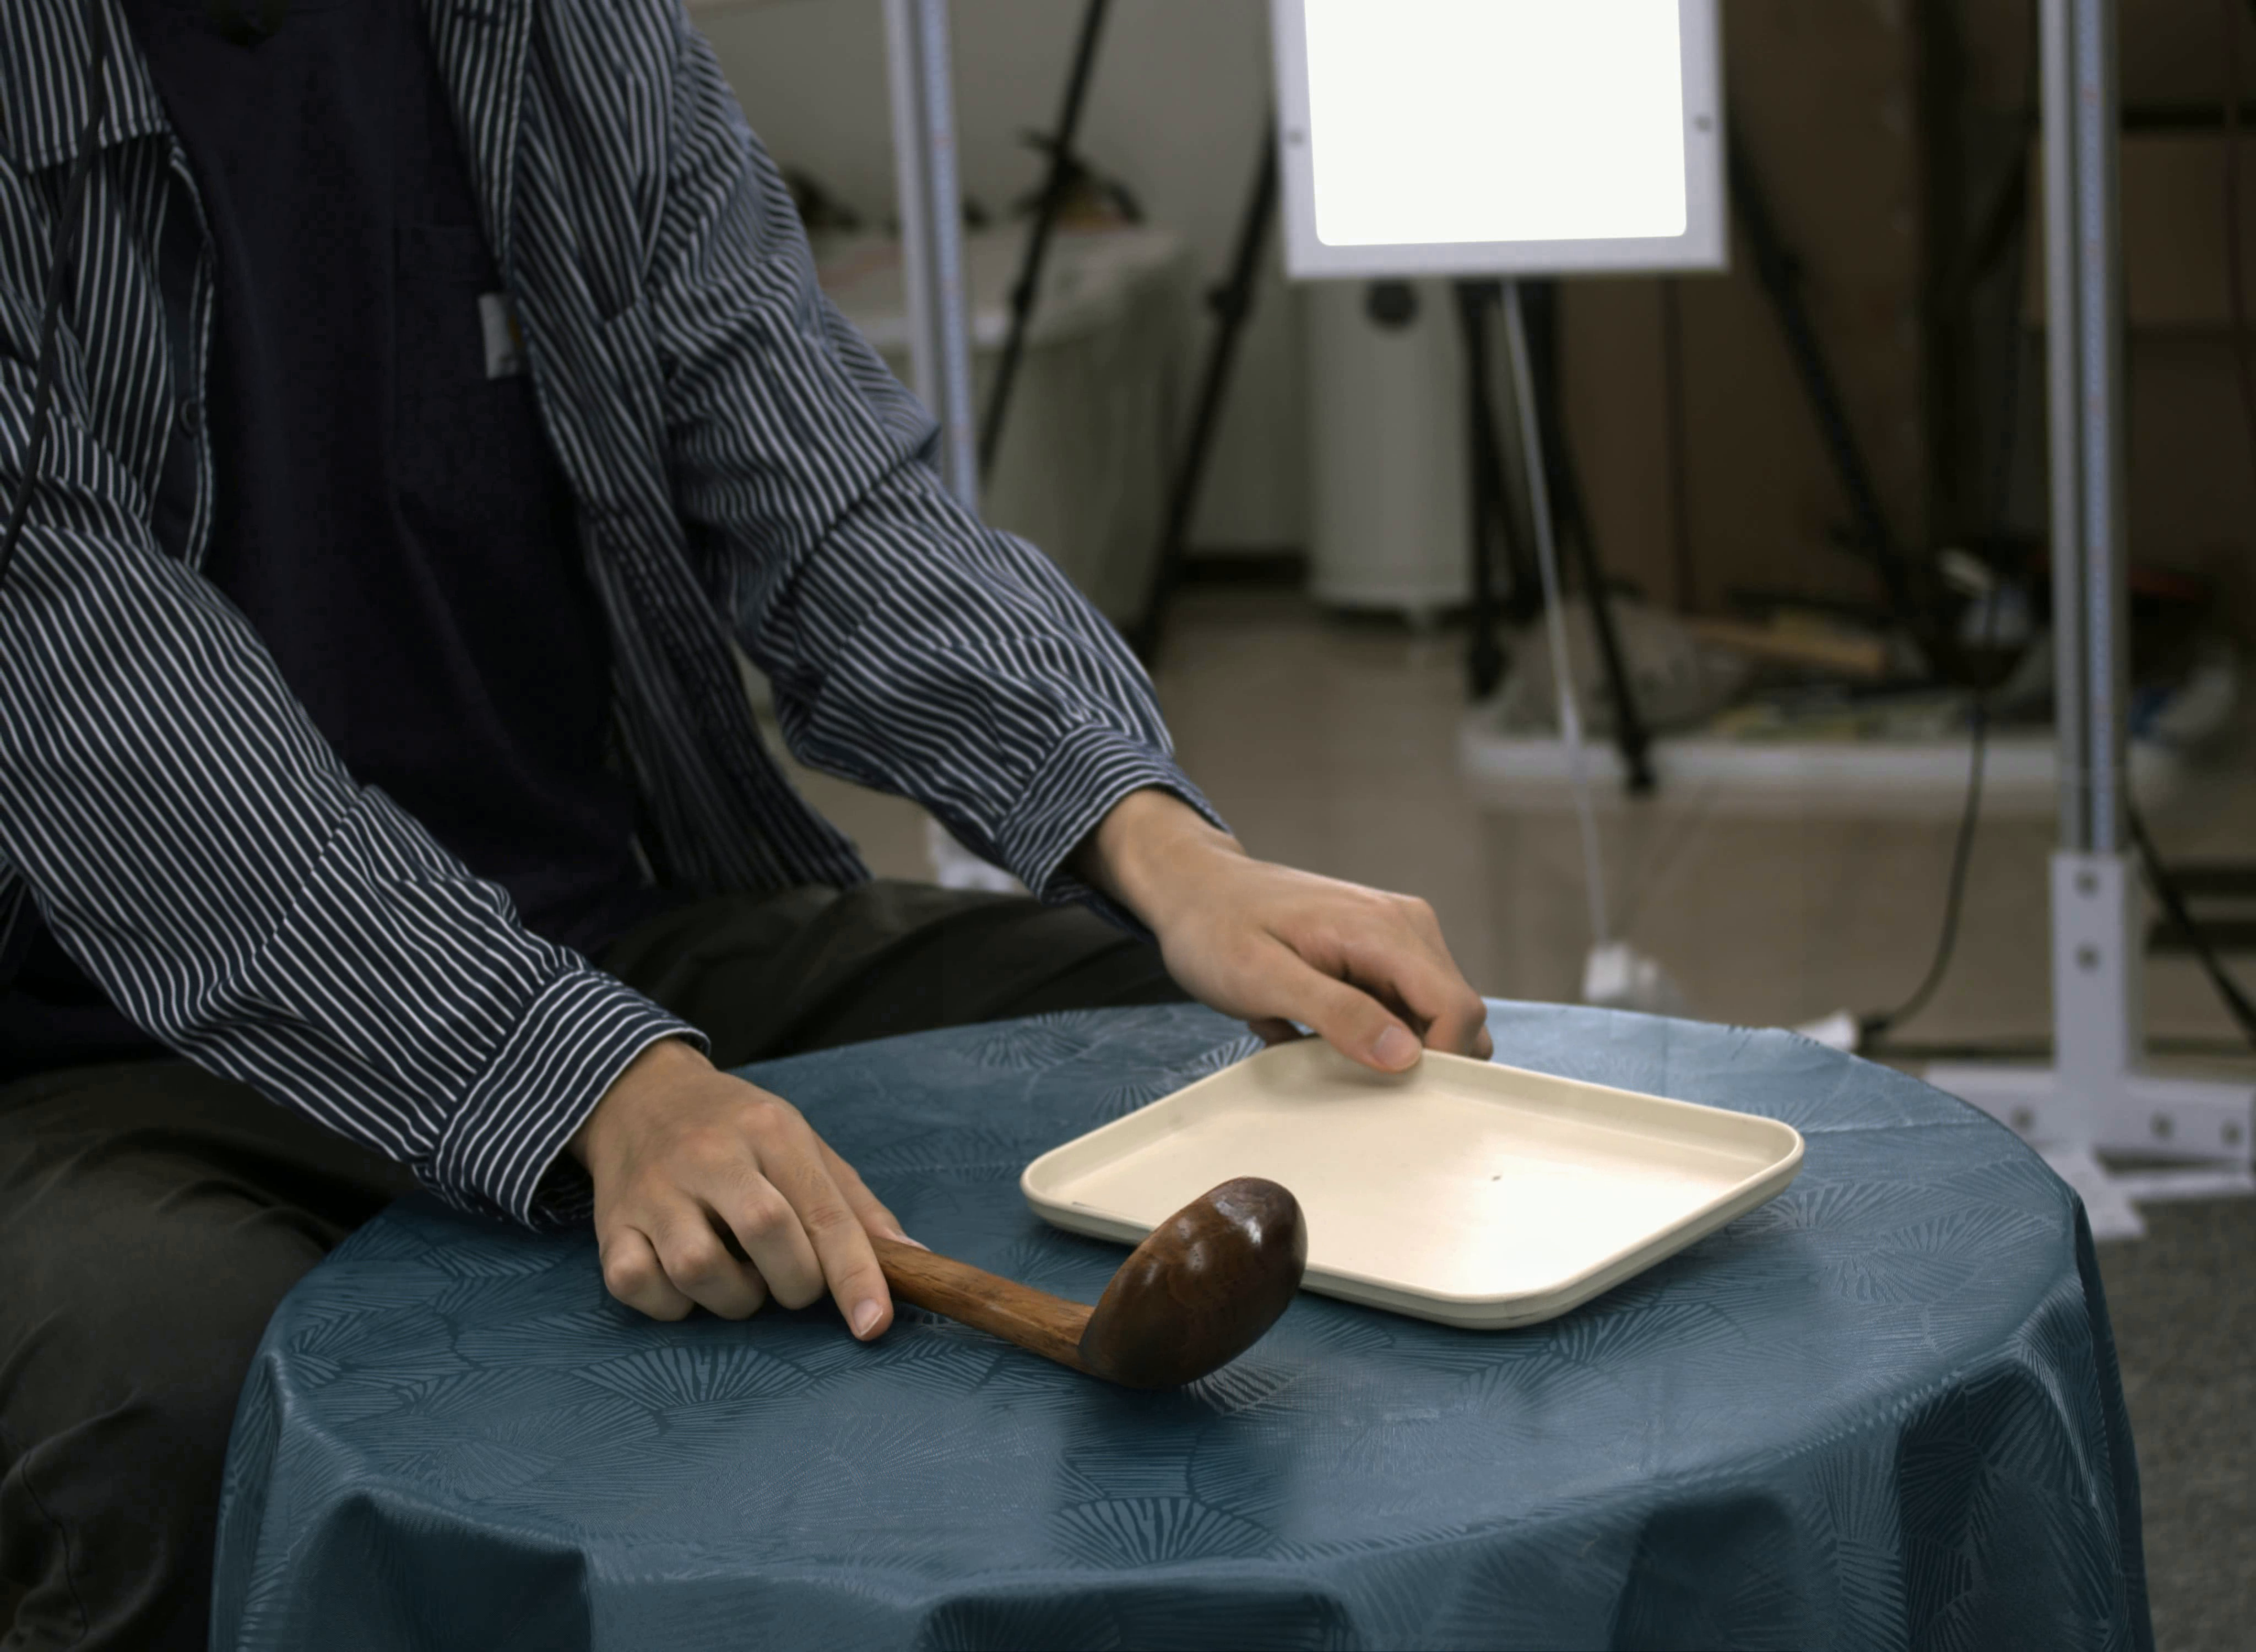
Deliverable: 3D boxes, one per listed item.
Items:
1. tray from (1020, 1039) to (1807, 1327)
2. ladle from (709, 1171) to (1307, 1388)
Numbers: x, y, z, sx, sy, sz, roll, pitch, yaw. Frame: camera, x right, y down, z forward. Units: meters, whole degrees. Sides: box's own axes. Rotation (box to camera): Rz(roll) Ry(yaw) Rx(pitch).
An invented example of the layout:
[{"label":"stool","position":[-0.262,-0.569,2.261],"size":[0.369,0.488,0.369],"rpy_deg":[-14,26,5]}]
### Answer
[{"label":"tray","position":[0.094,0.118,1.834],"size":[0.167,0.017,0.245],"rpy_deg":[-22,22,-40]},{"label":"ladle","position":[-0.050,0.125,1.752],"size":[0.080,0.077,0.280],"rpy_deg":[-14,17,-38]}]
